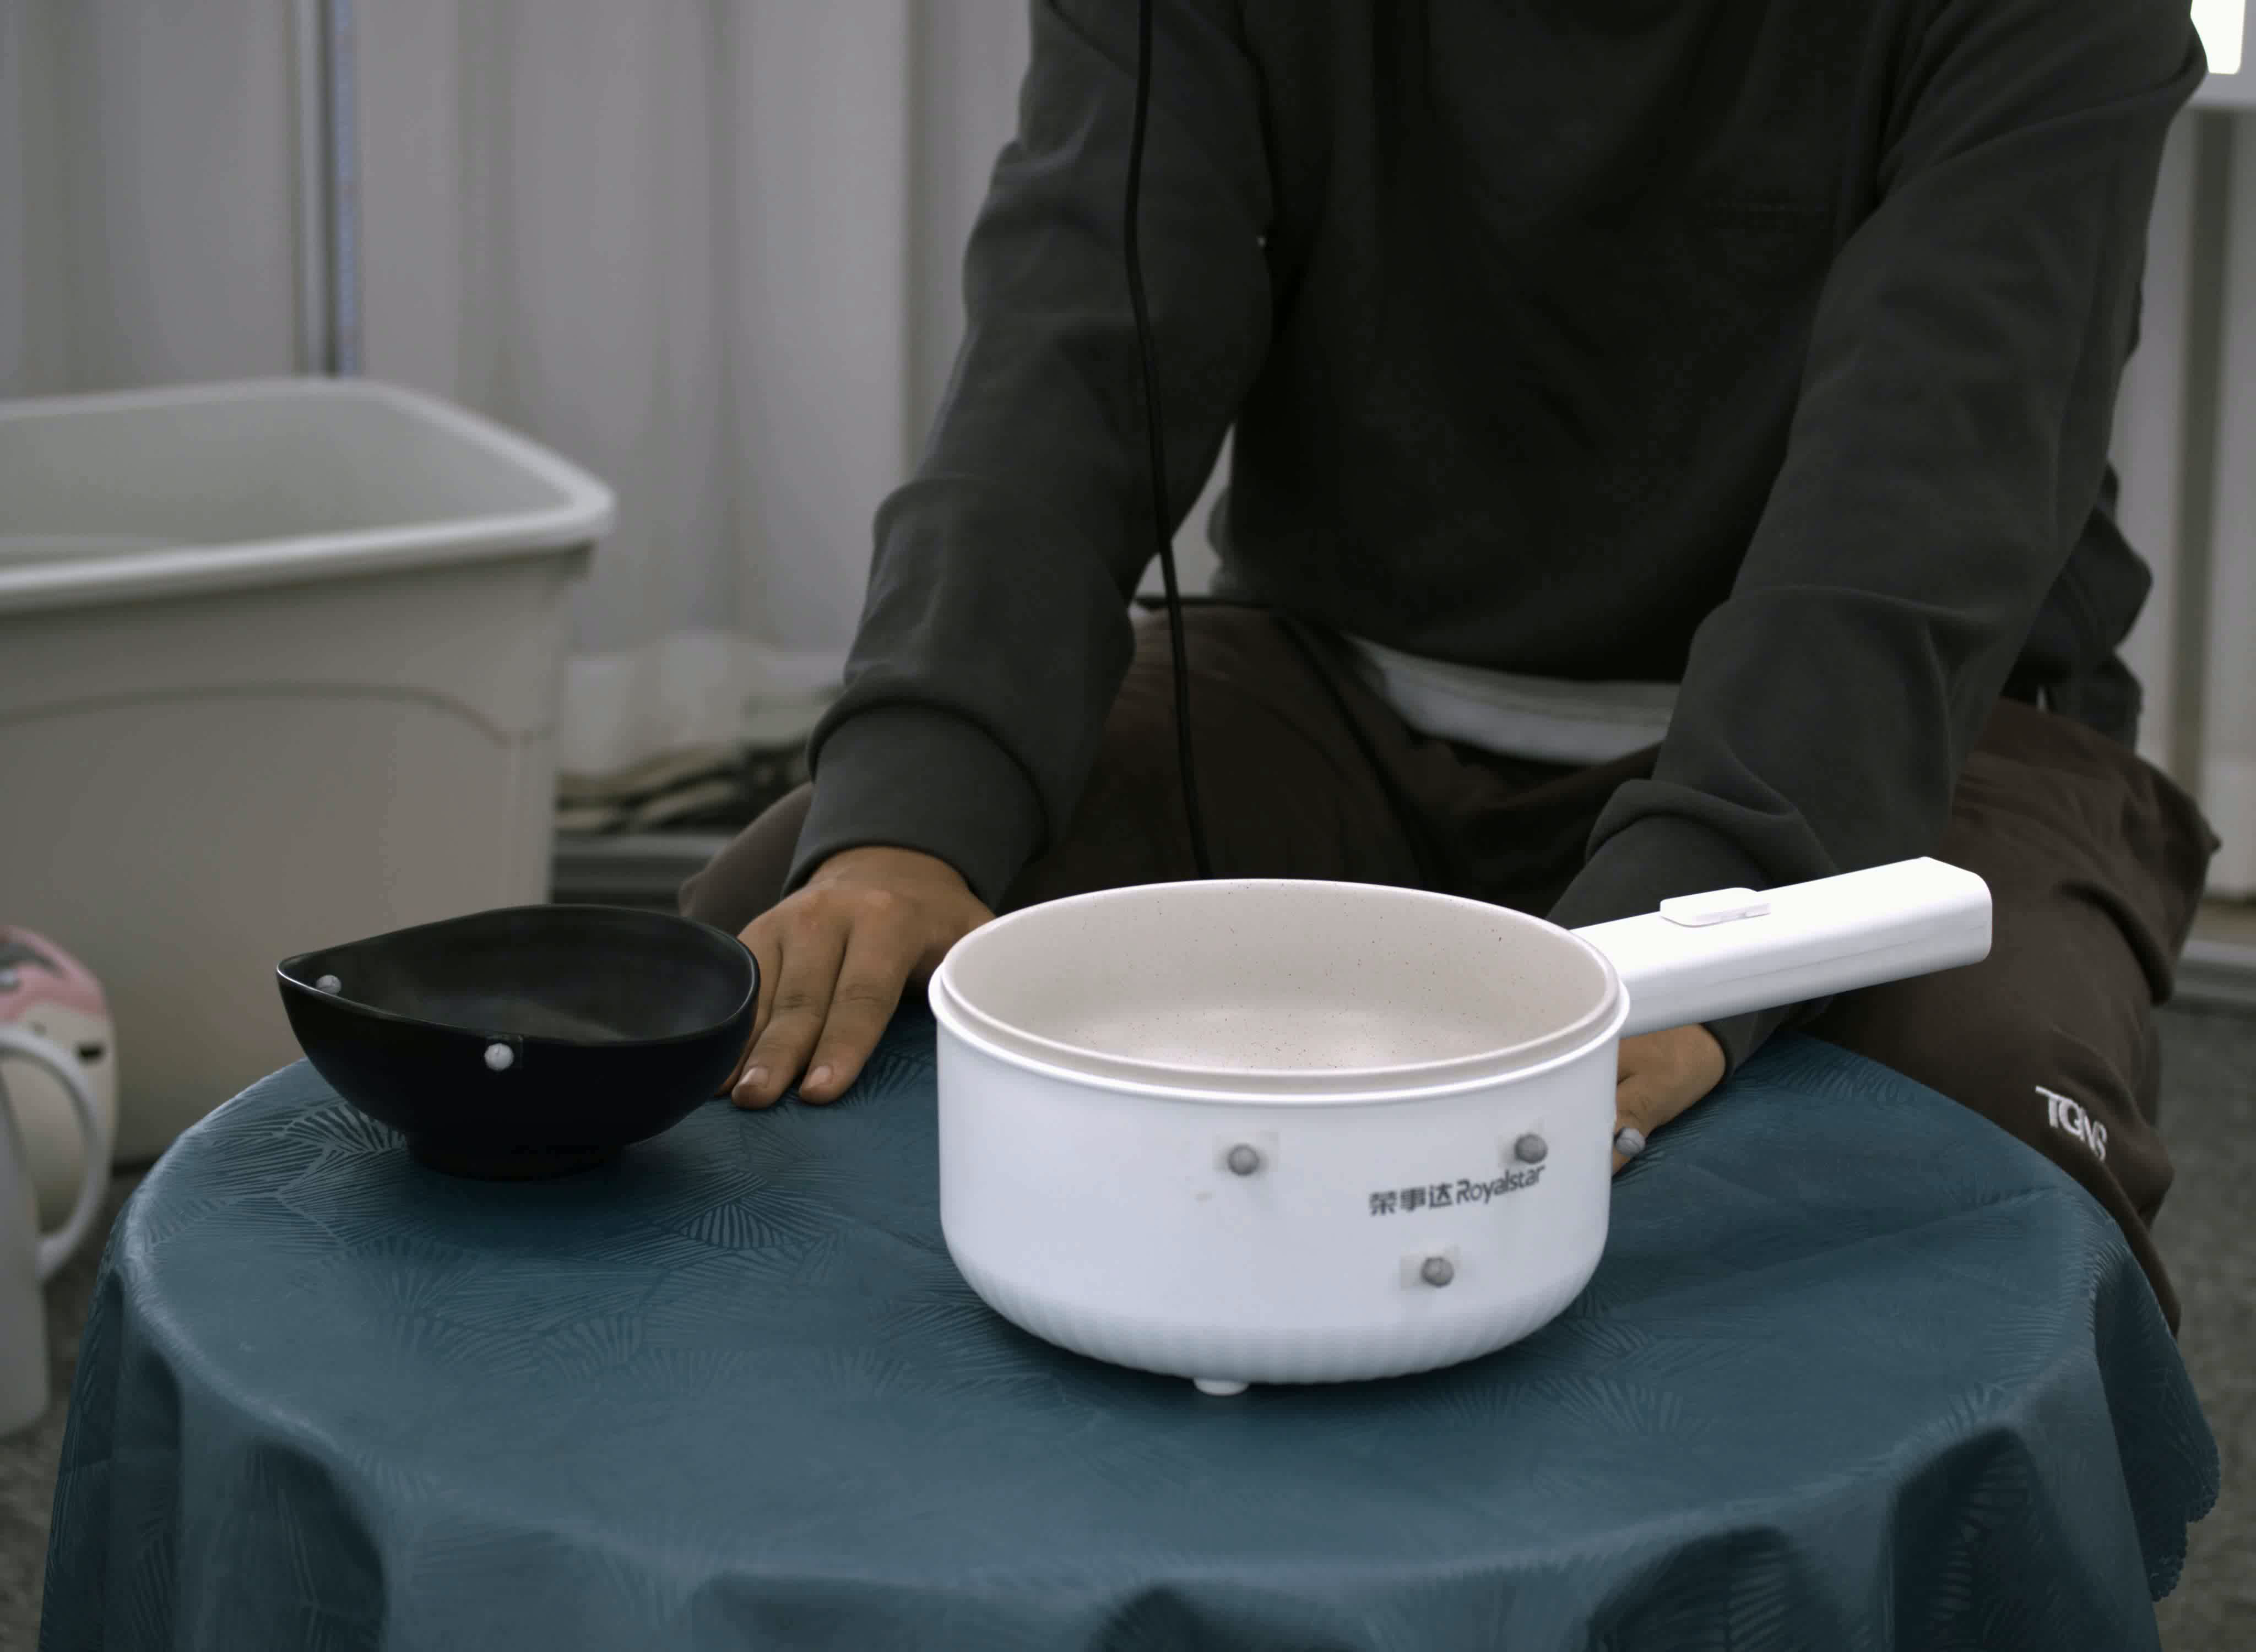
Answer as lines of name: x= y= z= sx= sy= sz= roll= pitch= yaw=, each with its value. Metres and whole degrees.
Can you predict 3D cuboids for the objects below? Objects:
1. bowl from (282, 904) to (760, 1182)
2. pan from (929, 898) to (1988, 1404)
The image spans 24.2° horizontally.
bowl: x=-0.190 y=0.071 z=1.645 sx=0.168 sy=0.067 sz=0.138 roll=12 pitch=19 yaw=41
pan: x=0.107 y=0.088 z=1.563 sx=0.356 sy=0.103 sz=0.199 roll=-7 pitch=13 yaw=-33
